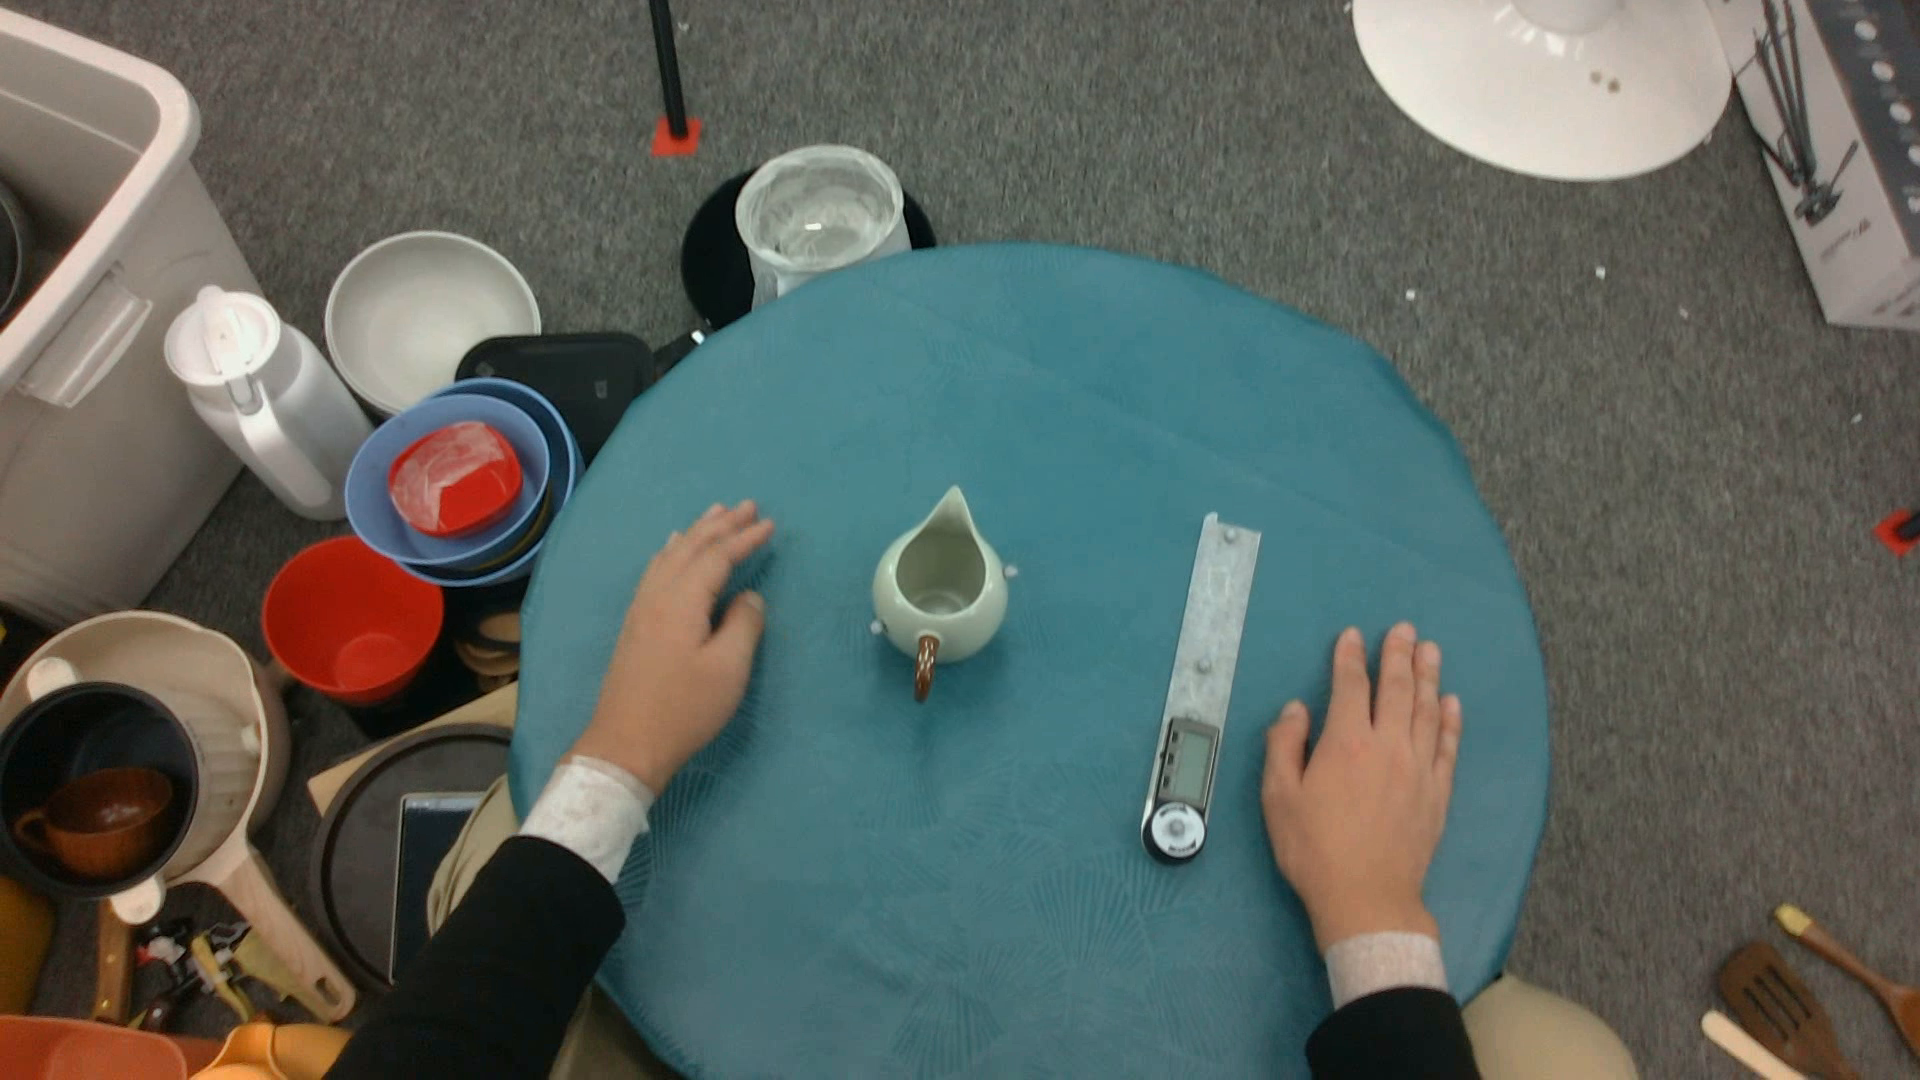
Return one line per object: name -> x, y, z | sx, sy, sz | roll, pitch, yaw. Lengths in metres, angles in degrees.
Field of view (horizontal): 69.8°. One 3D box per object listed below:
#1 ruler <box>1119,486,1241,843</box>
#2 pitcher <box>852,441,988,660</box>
ruler -> 0.130, 0.066, 0.793 | 0.038, 0.024, 0.219 | 17, 67, -3
pitcher -> -0.024, 0.017, 0.770 | 0.076, 0.087, 0.119 | 11, 65, 5
